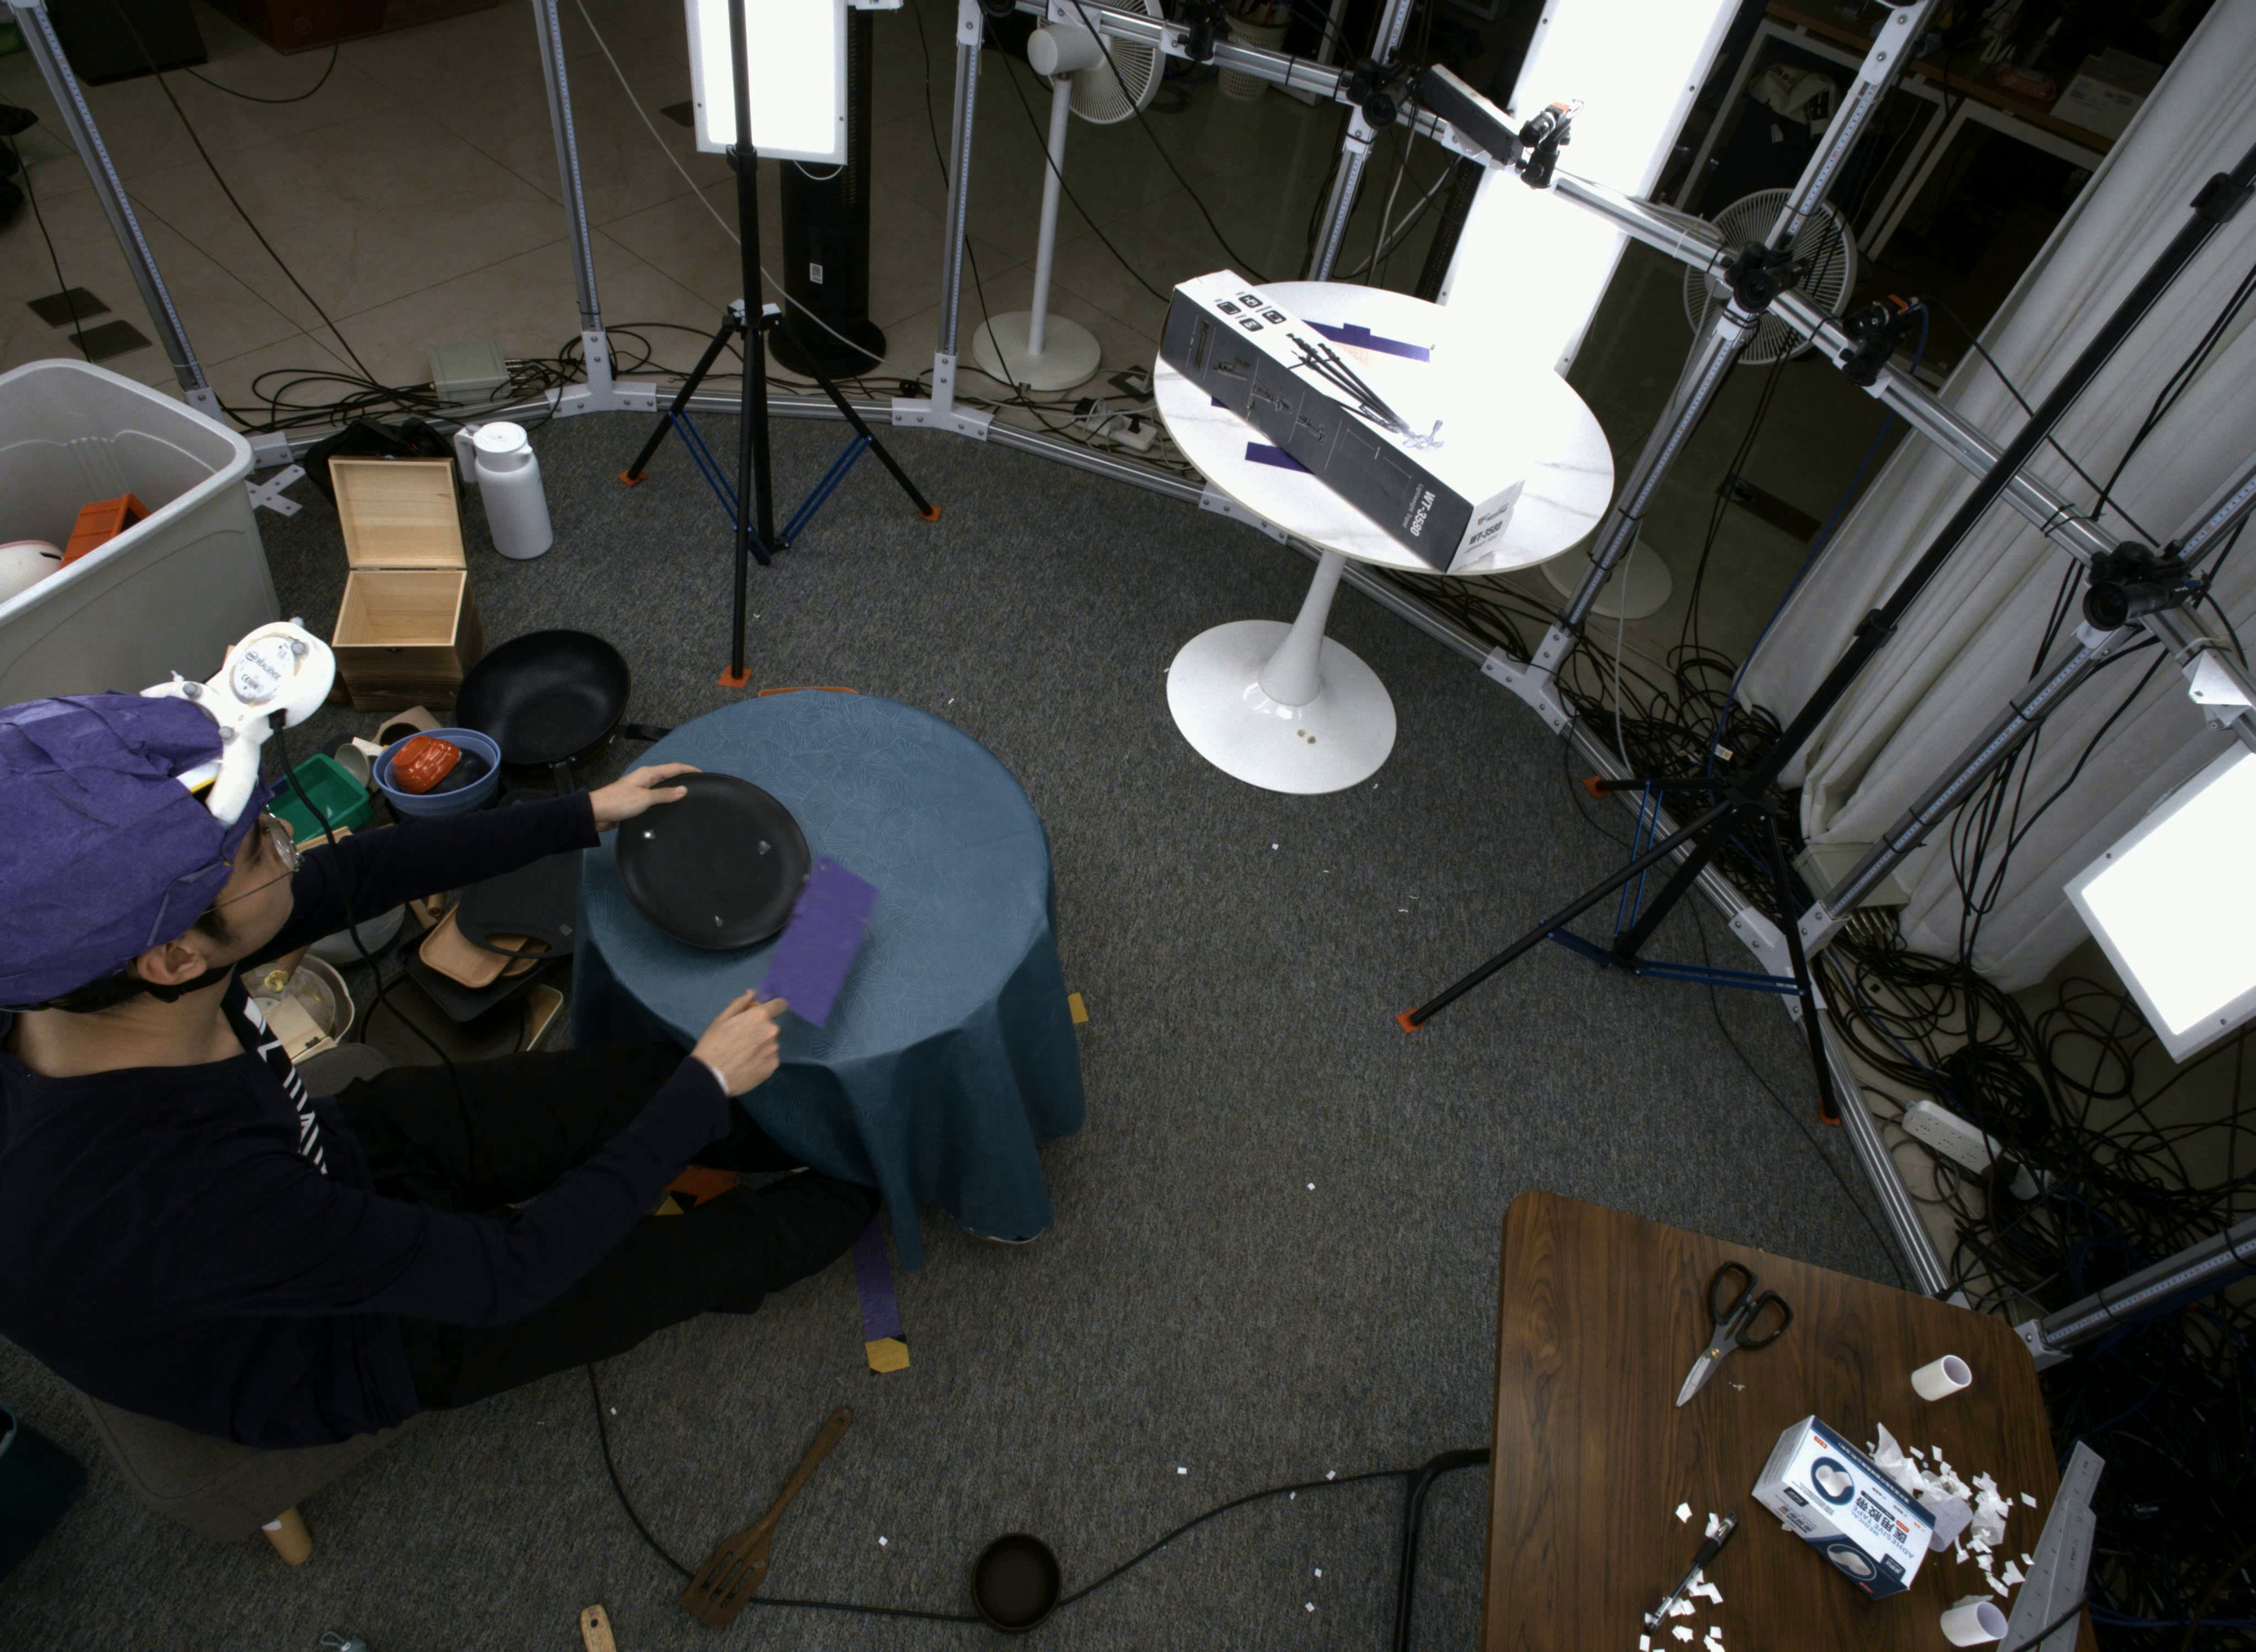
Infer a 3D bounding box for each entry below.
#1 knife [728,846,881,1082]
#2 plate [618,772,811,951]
[{"bbox_3d":[-0.368,0.168,1.521,0.107,0.031,0.312,38,50,-26],"label":"knife"},{"bbox_3d":[-0.521,0.044,1.625,0.248,0.023,0.241,16,58,-25],"label":"plate"}]
